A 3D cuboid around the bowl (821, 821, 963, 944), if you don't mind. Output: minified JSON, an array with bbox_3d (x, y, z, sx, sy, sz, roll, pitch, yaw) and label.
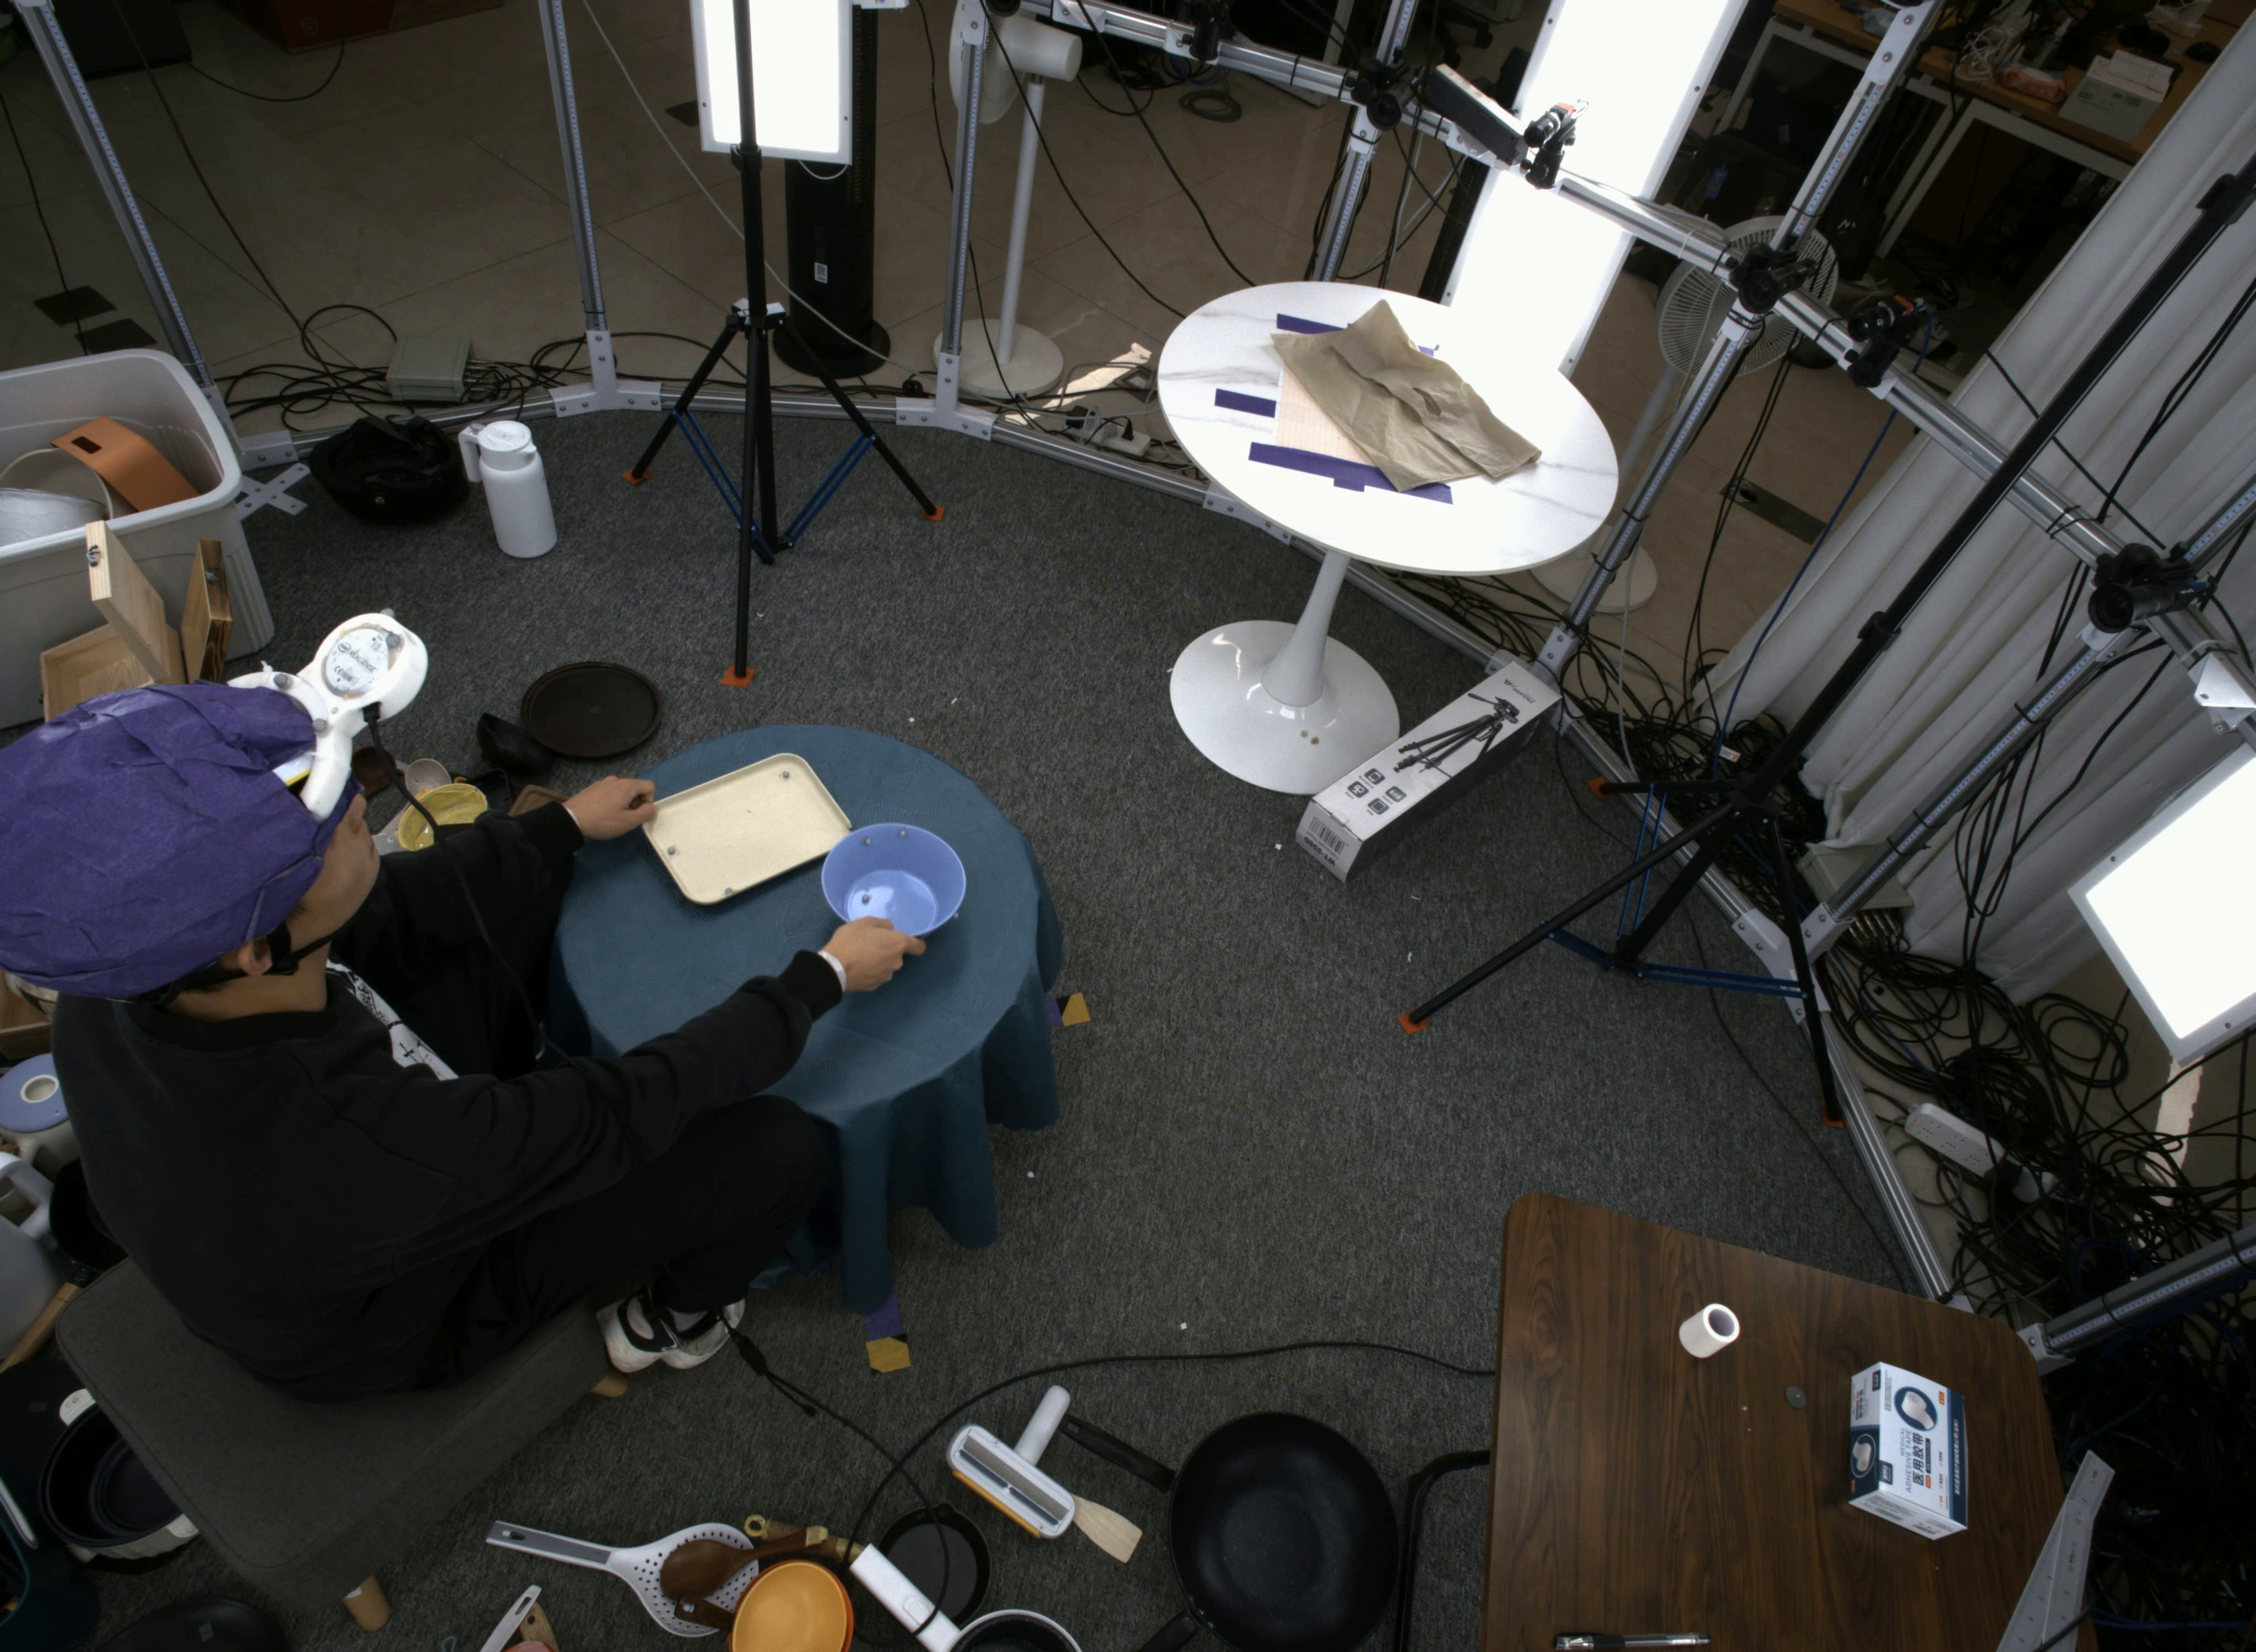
[{"bbox_3d":[-0.296,0.080,1.629,0.176,0.072,0.173,10,49,-9],"label":"bowl"}]

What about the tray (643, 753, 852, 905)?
[{"bbox_3d":[-0.495,0.001,1.686,0.241,0.018,0.168,-27,68,-33],"label":"tray"}]
